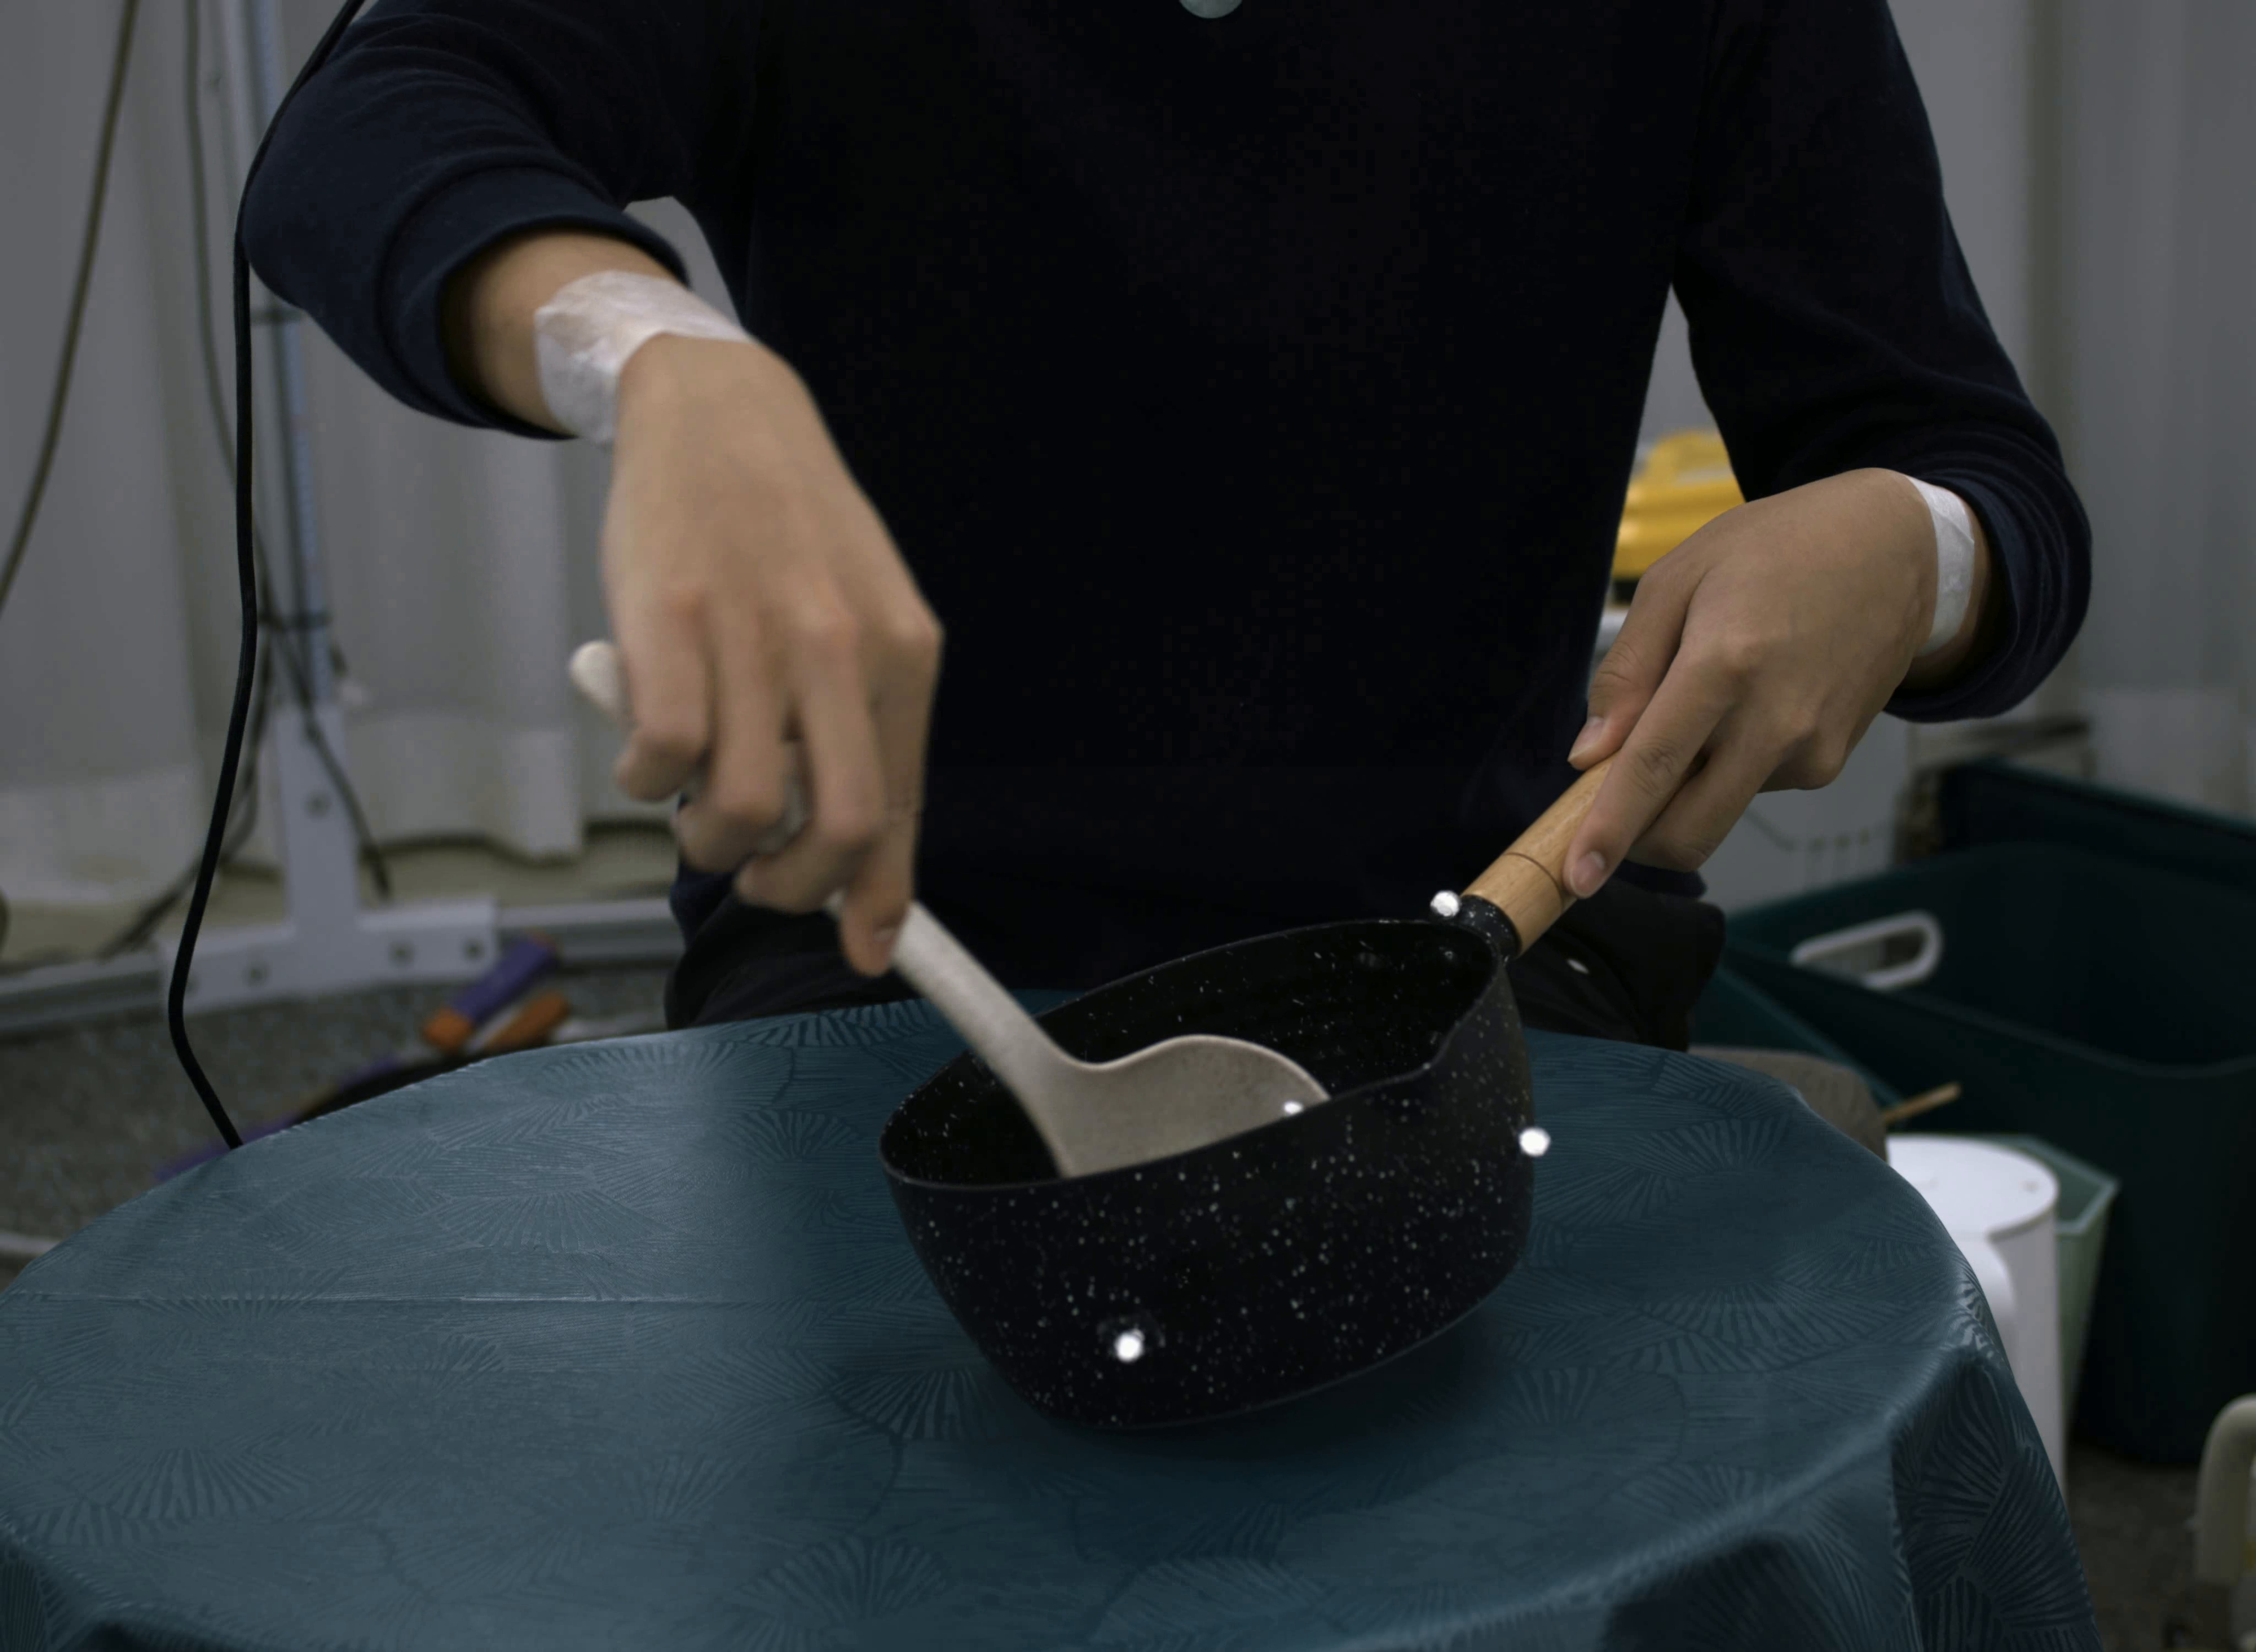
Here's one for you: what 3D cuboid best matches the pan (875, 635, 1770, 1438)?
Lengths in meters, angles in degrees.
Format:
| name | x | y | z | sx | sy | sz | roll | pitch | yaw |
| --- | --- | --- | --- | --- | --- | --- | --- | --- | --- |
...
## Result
| name | x | y | z | sx | sy | sz | roll | pitch | yaw |
| --- | --- | --- | --- | --- | --- | --- | --- | --- | --- |
| pan | 0.081 | 0.059 | 1.587 | 0.343 | 0.108 | 0.208 | -31 | 17 | -36 |

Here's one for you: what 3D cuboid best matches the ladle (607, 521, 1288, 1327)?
| name | x | y | z | sx | sy | sz | roll | pitch | yaw |
| --- | --- | --- | --- | --- | --- | --- | --- | --- | --- |
| ladle | -0.039 | 0.022 | 1.432 | 0.069 | 0.272 | 0.090 | -3 | 42 | 42 |
